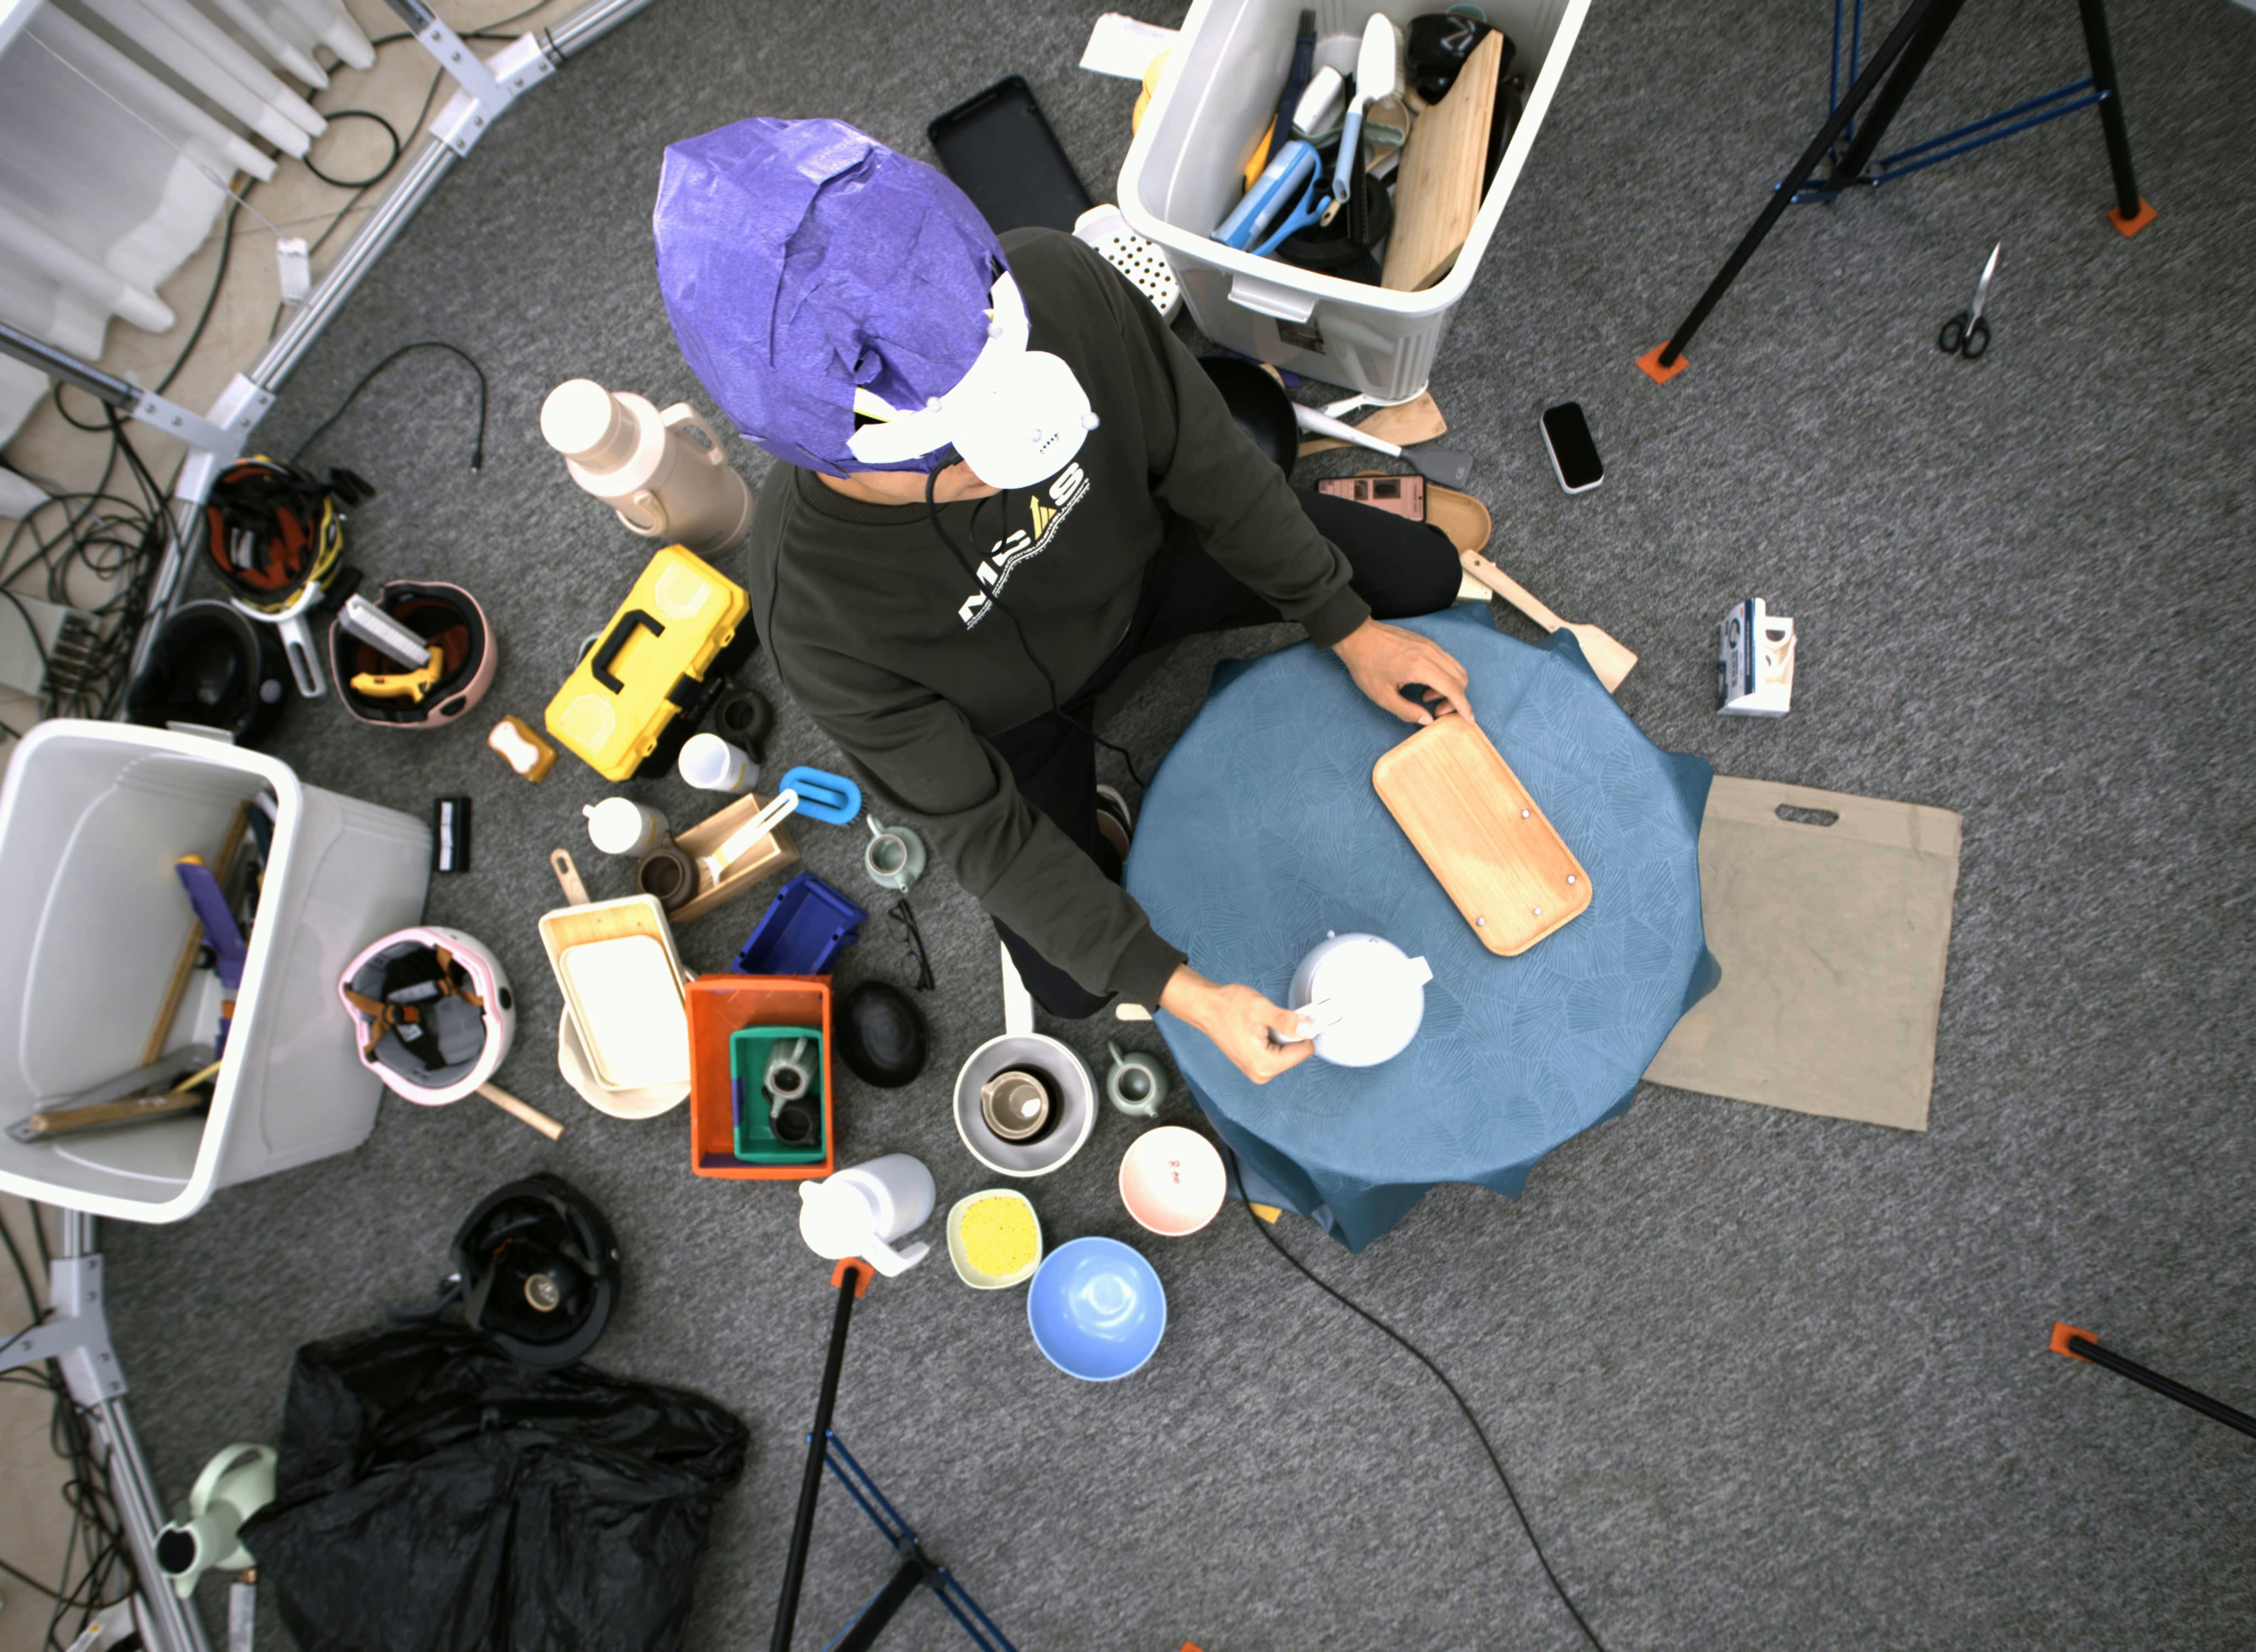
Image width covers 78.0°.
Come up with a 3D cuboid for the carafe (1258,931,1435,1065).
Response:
[{"bbox_3d":[0.203,0.171,1.318,0.168,0.249,0.131,-27,81,2],"label":"carafe"}]

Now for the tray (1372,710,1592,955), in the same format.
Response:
[{"bbox_3d":[0.368,0.004,1.437,0.131,0.023,0.249,-33,80,5],"label":"tray"}]
